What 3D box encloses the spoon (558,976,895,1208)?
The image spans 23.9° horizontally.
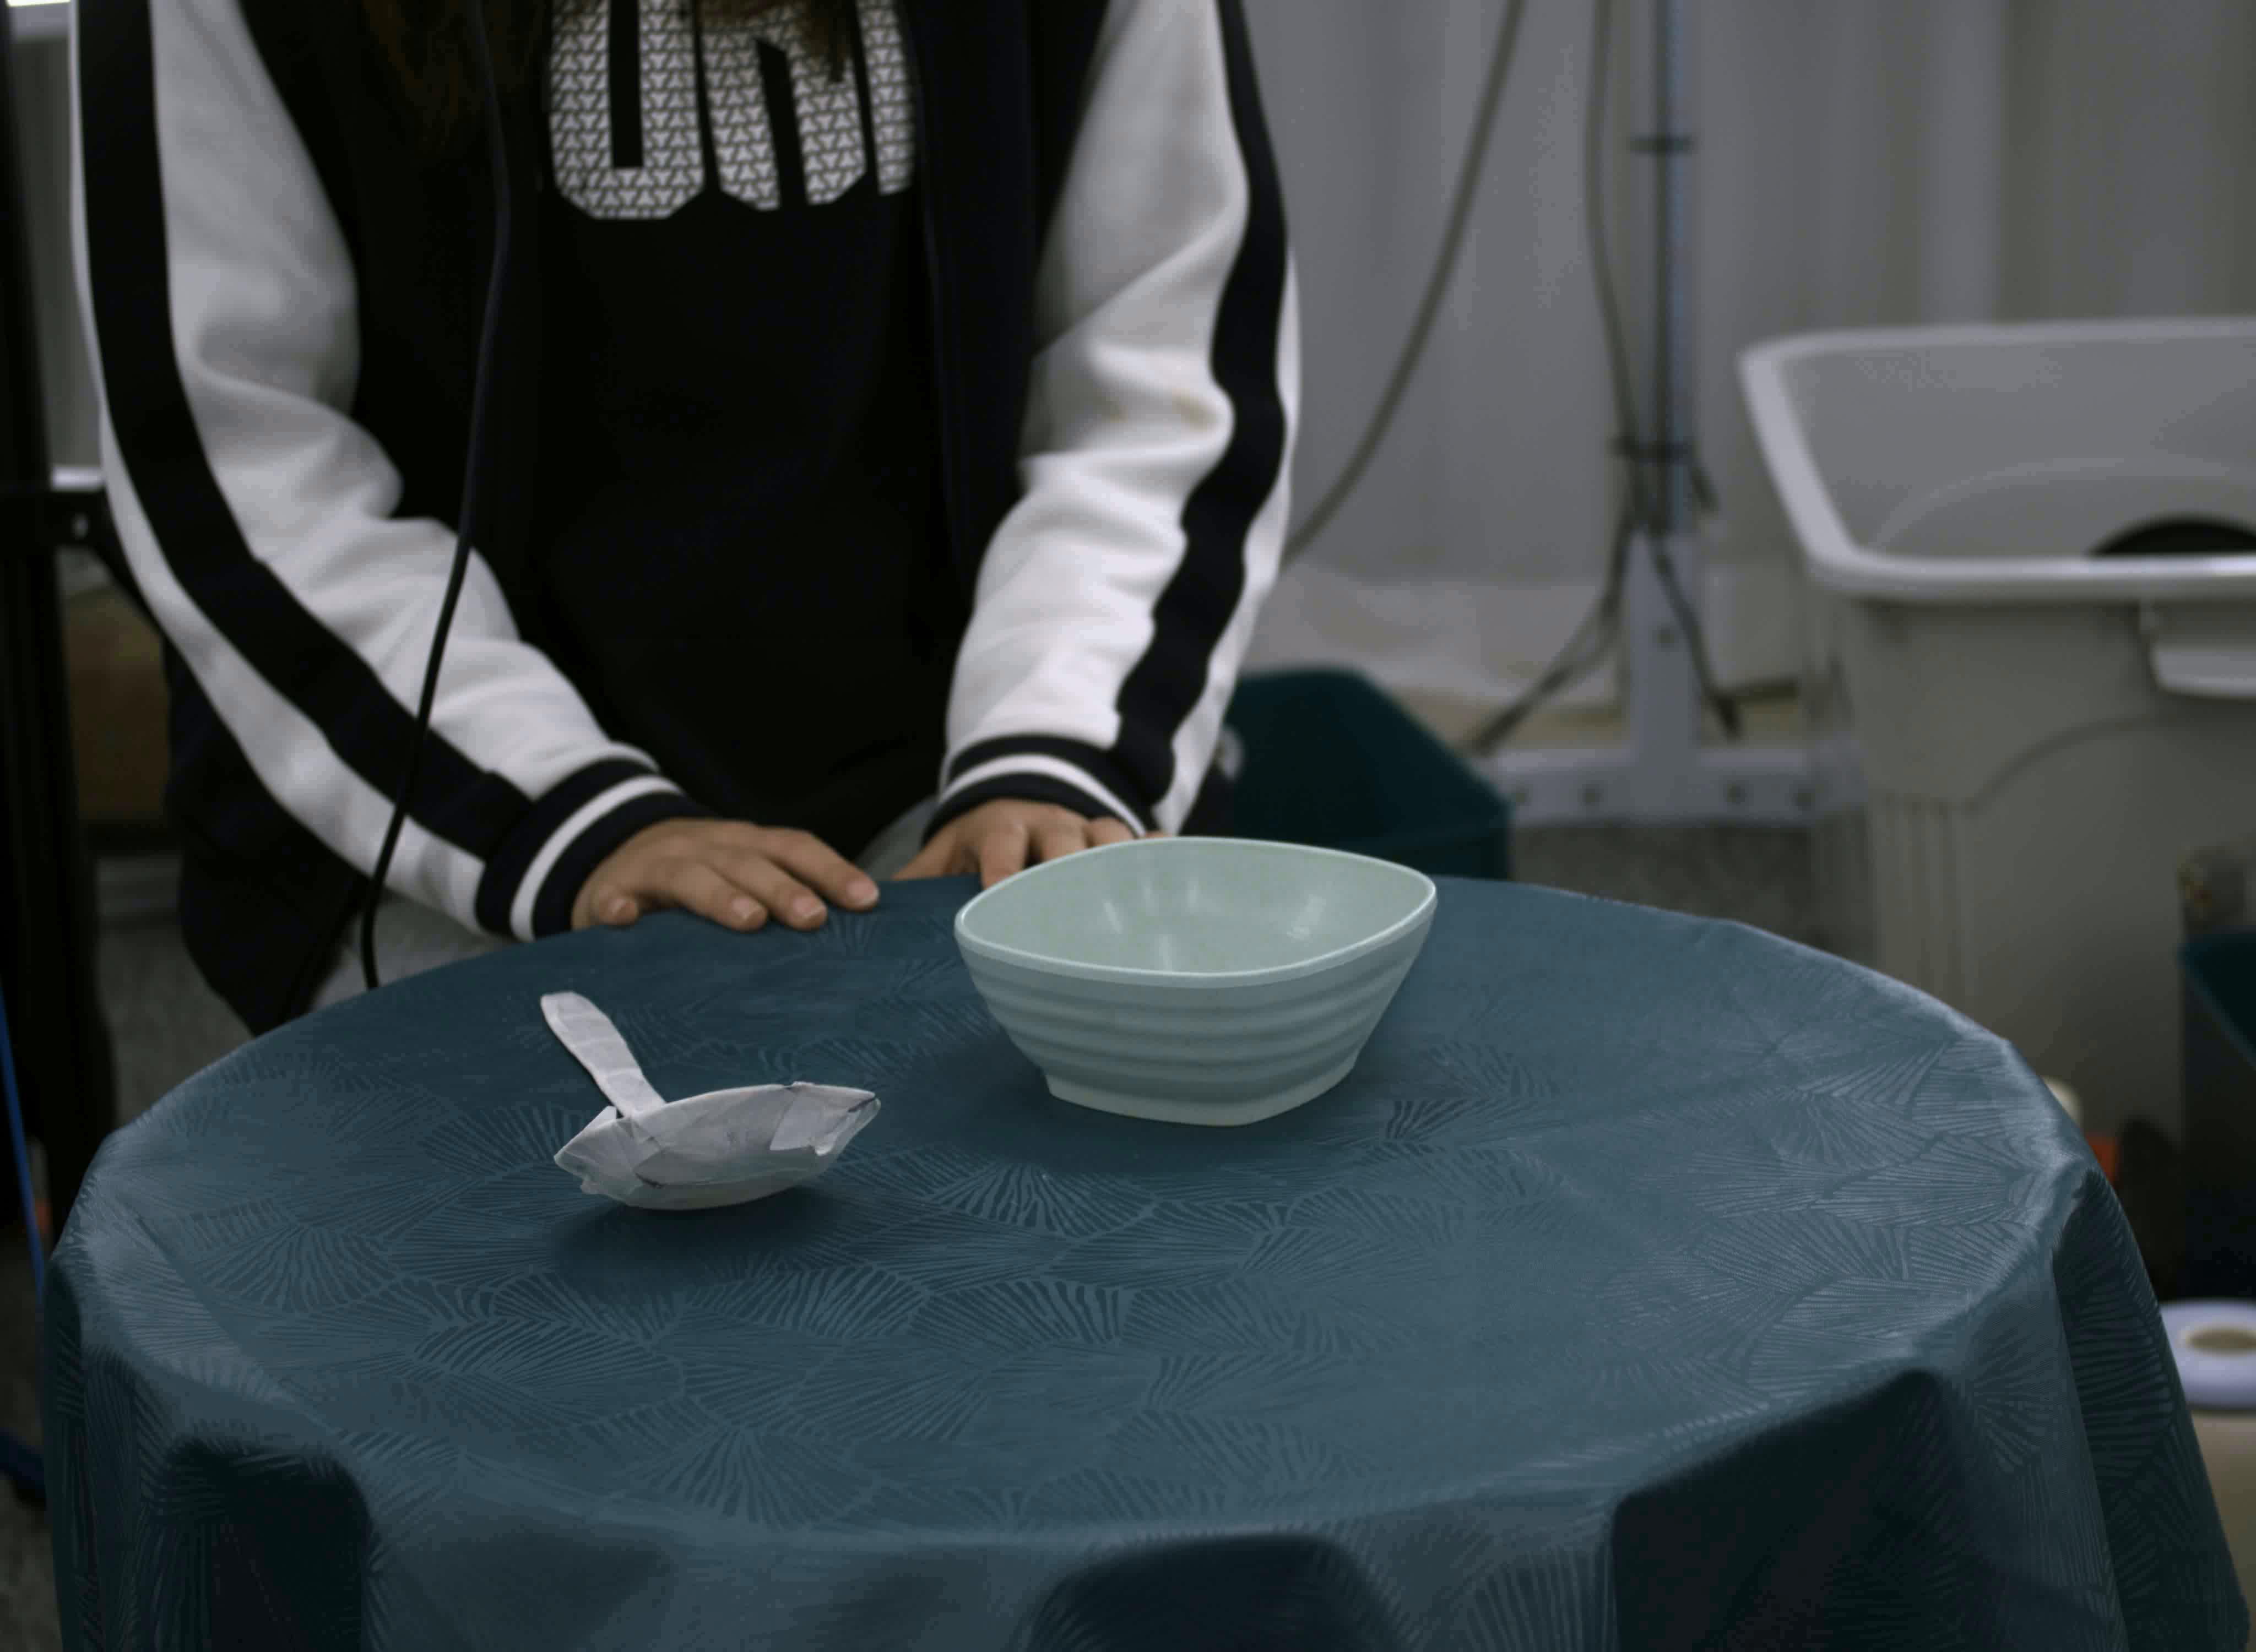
[{"bbox_3d":[-0.139,0.063,1.634,0.099,0.059,0.281,-2,15,-14],"label":"spoon"}]

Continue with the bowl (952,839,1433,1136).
[{"bbox_3d":[0.021,0.053,1.650,0.150,0.058,0.152,-3,16,-1],"label":"bowl"}]
